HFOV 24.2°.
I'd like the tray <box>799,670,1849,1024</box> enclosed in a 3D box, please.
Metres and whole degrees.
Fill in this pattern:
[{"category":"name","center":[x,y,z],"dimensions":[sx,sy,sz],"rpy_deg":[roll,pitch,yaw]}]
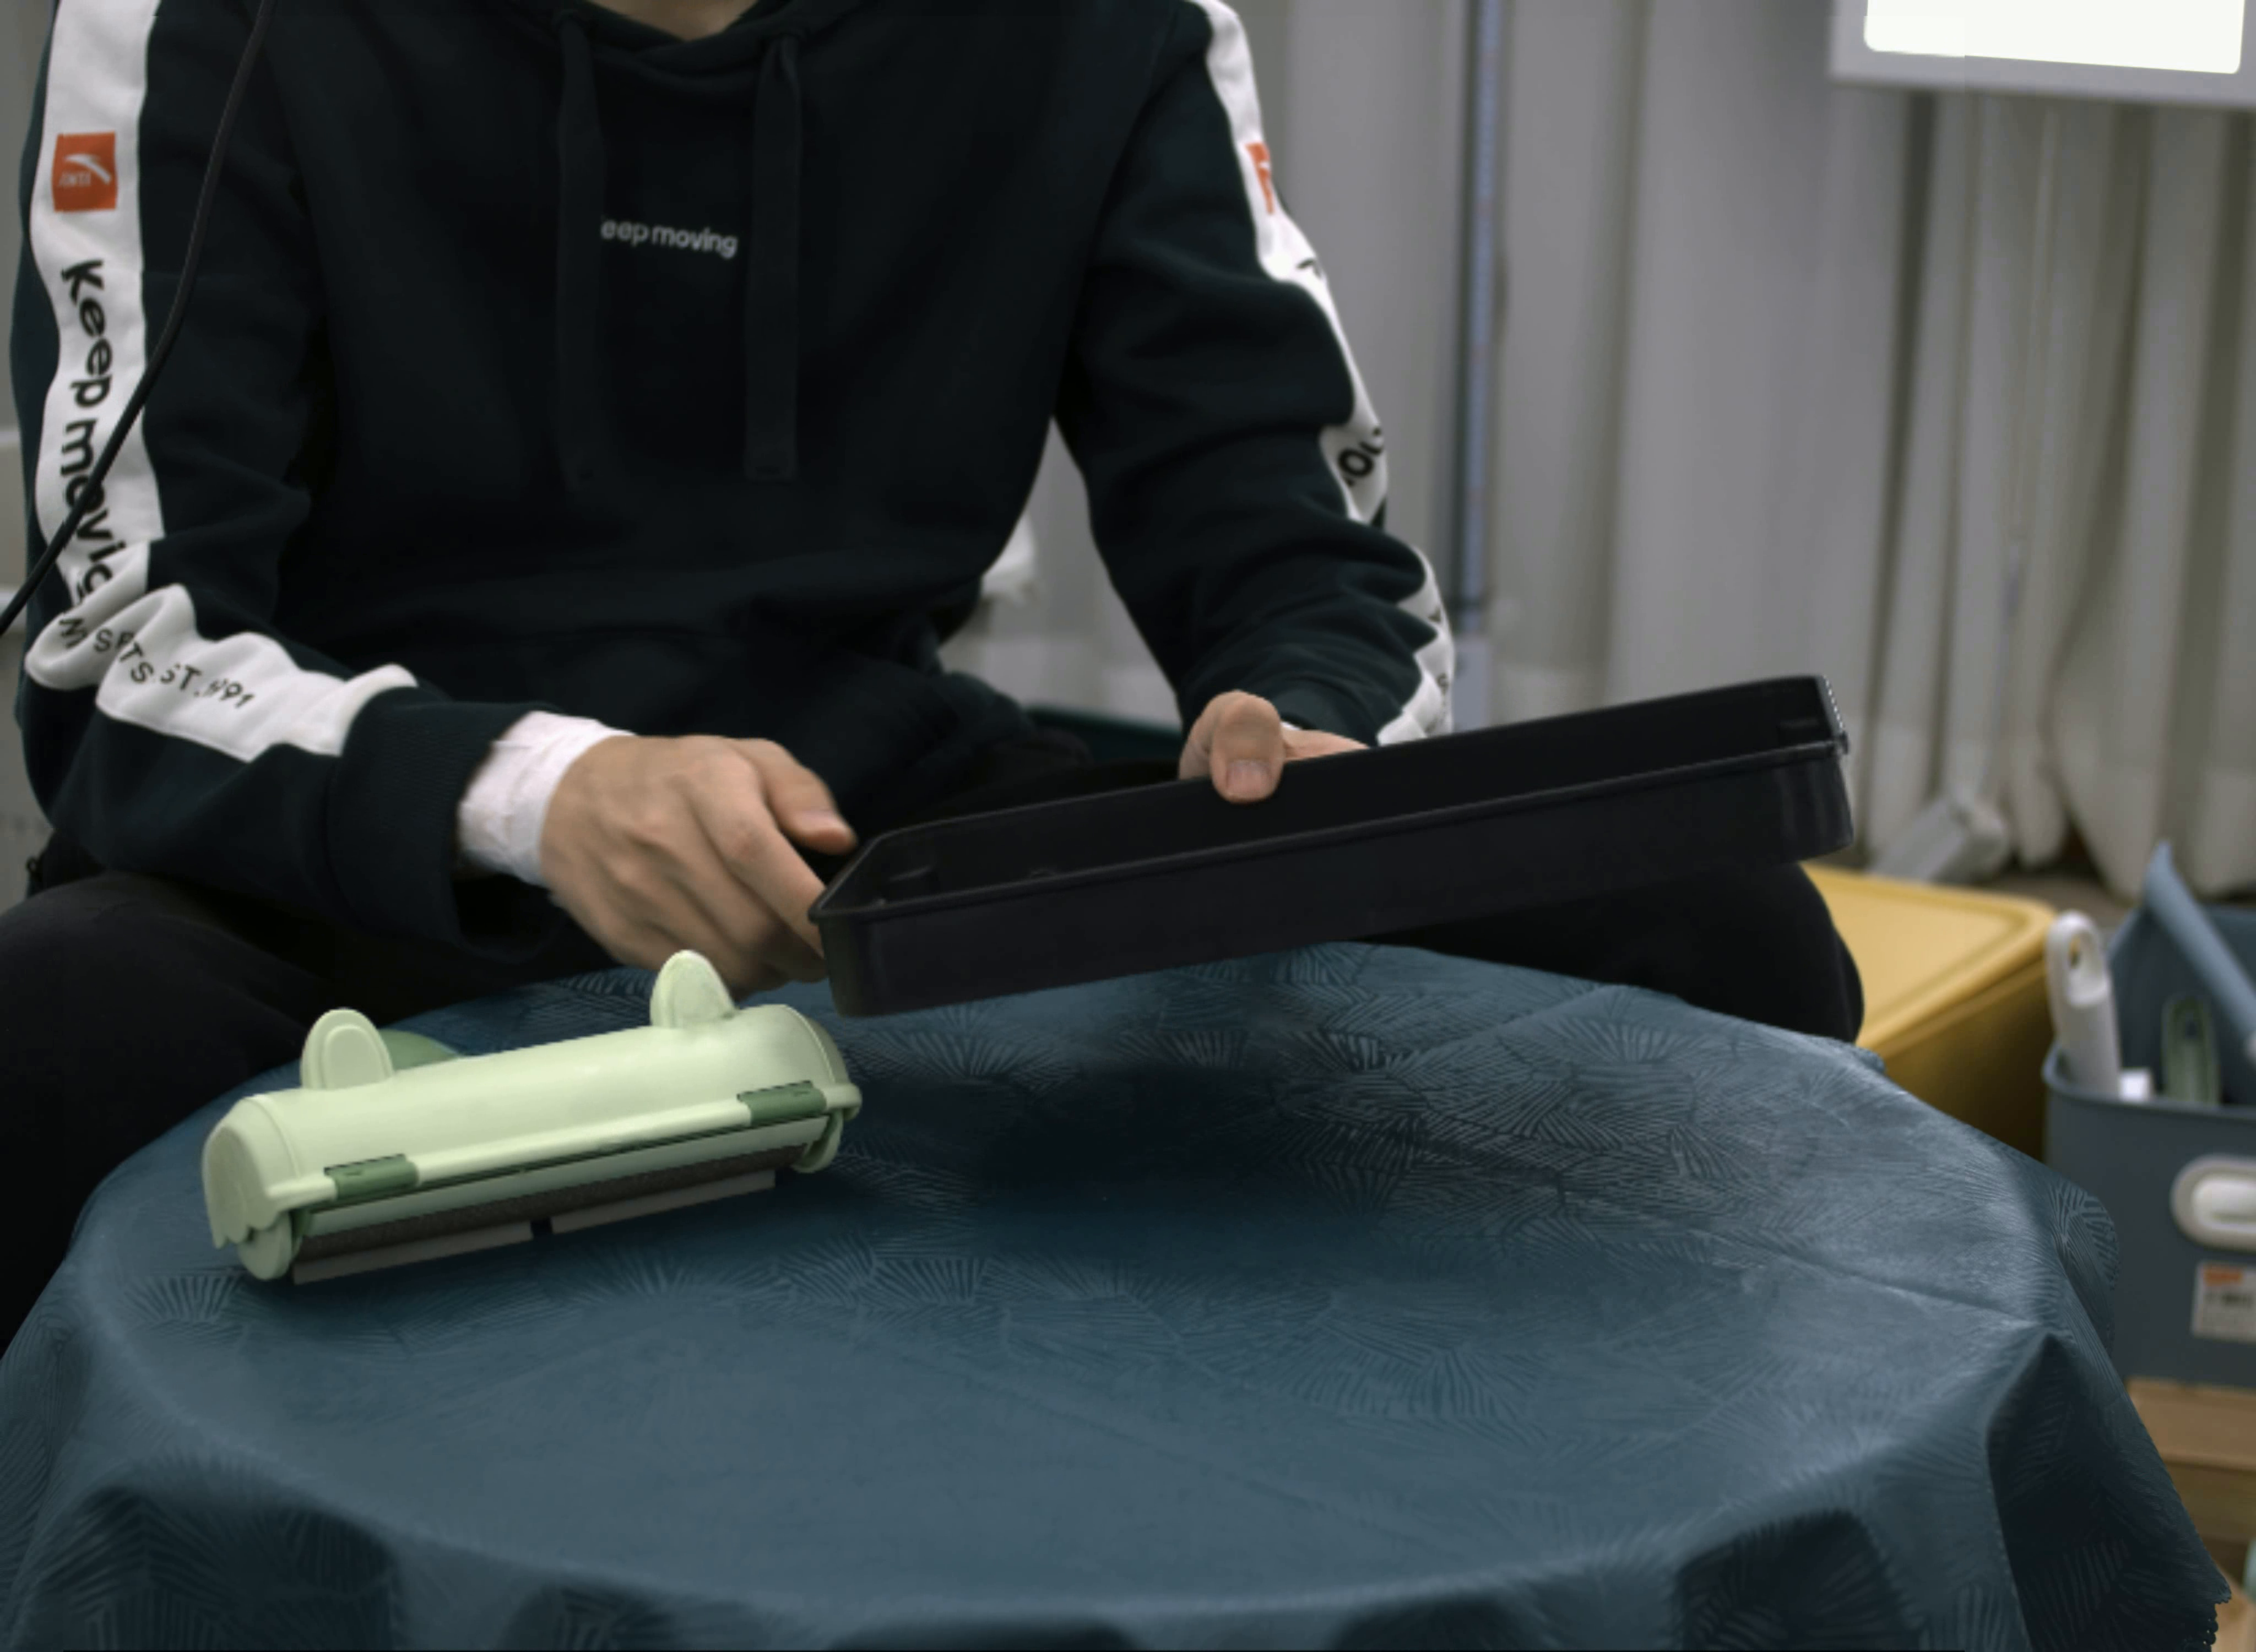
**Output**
[{"category":"tray","center":[0.065,0.004,1.639],"dimensions":[0.316,0.037,0.184],"rpy_deg":[-10,7,6]}]

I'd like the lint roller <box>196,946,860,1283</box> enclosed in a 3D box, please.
[{"category":"lint roller","center":[-0.207,0.072,1.612],"dimensions":[0.199,0.083,0.181],"rpy_deg":[-10,21,-31]}]
